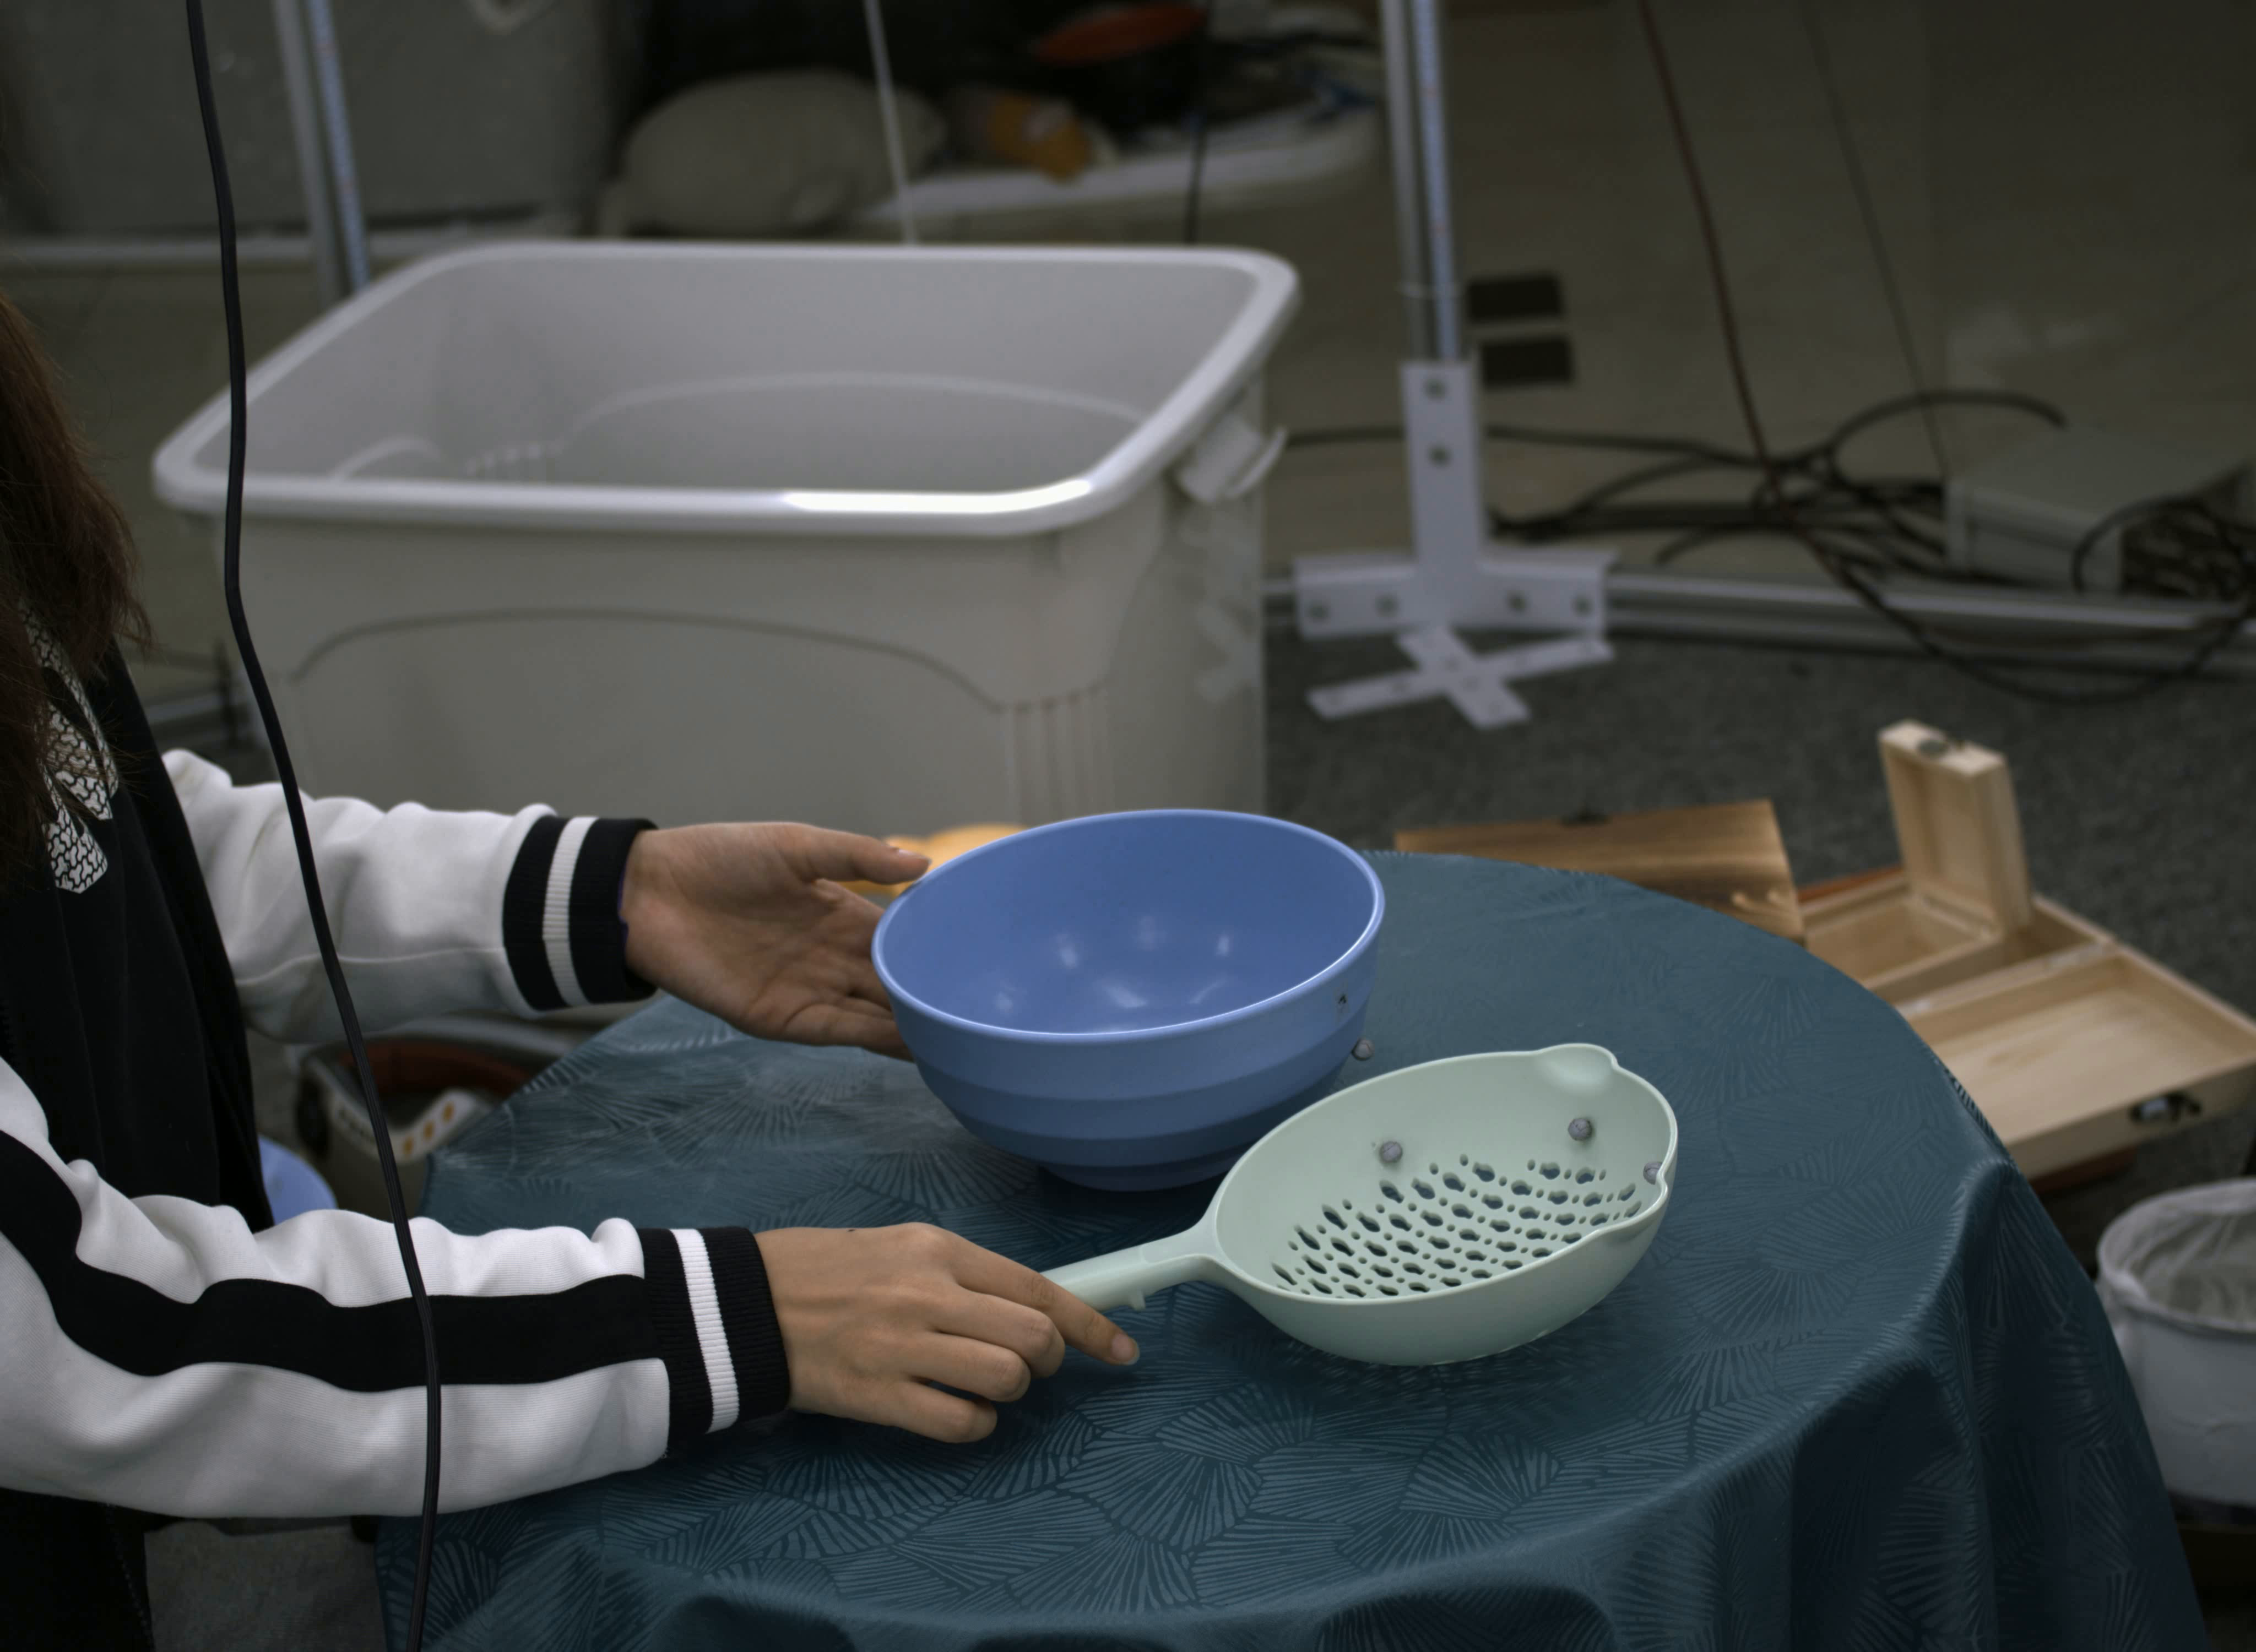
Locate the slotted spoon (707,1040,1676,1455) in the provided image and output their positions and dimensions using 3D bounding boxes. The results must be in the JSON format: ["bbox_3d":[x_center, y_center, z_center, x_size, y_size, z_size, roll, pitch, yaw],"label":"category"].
[{"bbox_3d":[0.021,0.162,2.024,0.358,0.076,0.167,-9,24,-1],"label":"slotted spoon"}]

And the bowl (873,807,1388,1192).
[{"bbox_3d":[0.005,0.077,2.166,0.196,0.097,0.193,-5,26,3],"label":"bowl"}]
